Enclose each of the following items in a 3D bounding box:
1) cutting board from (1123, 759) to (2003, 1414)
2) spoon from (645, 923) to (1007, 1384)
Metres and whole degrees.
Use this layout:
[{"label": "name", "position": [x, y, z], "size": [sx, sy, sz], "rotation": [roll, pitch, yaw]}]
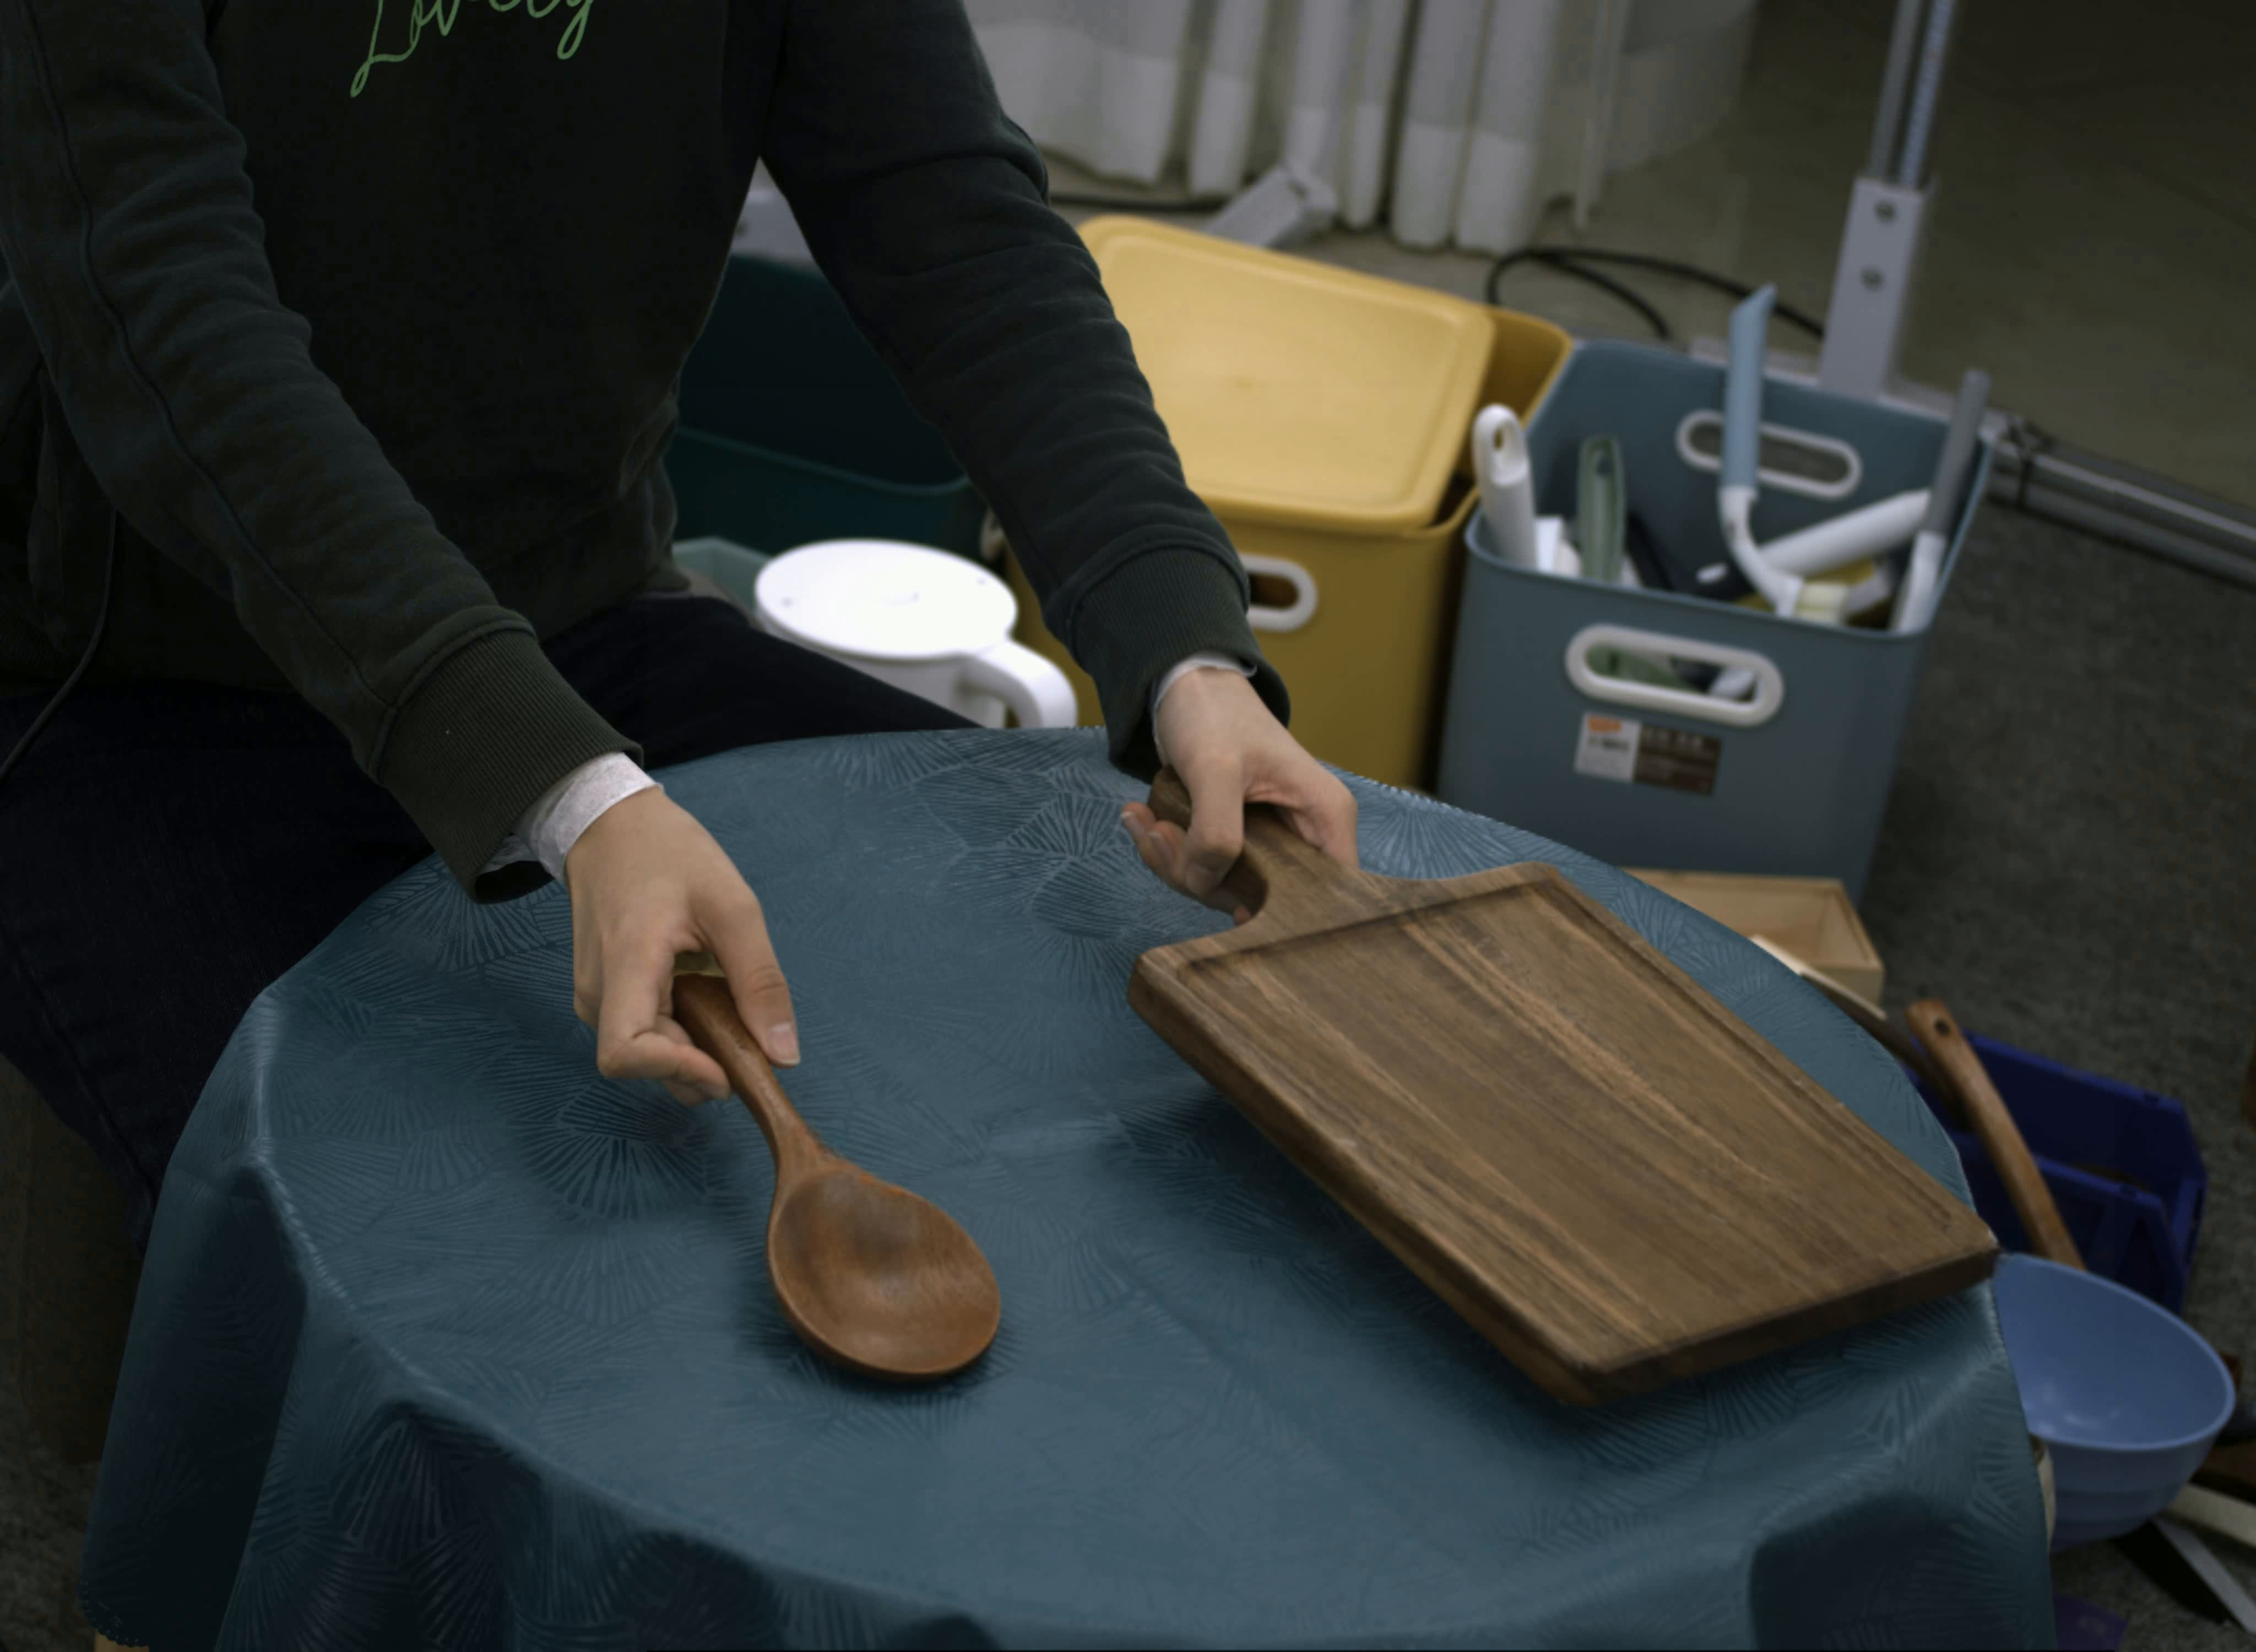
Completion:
[{"label": "cutting board", "position": [0.117, 0.073, 1.840], "size": [0.200, 0.023, 0.355], "rotation": [-13, 38, -35]}, {"label": "spoon", "position": [-0.107, 0.107, 1.746], "size": [0.075, 0.017, 0.218], "rotation": [-12, 46, -26]}]
